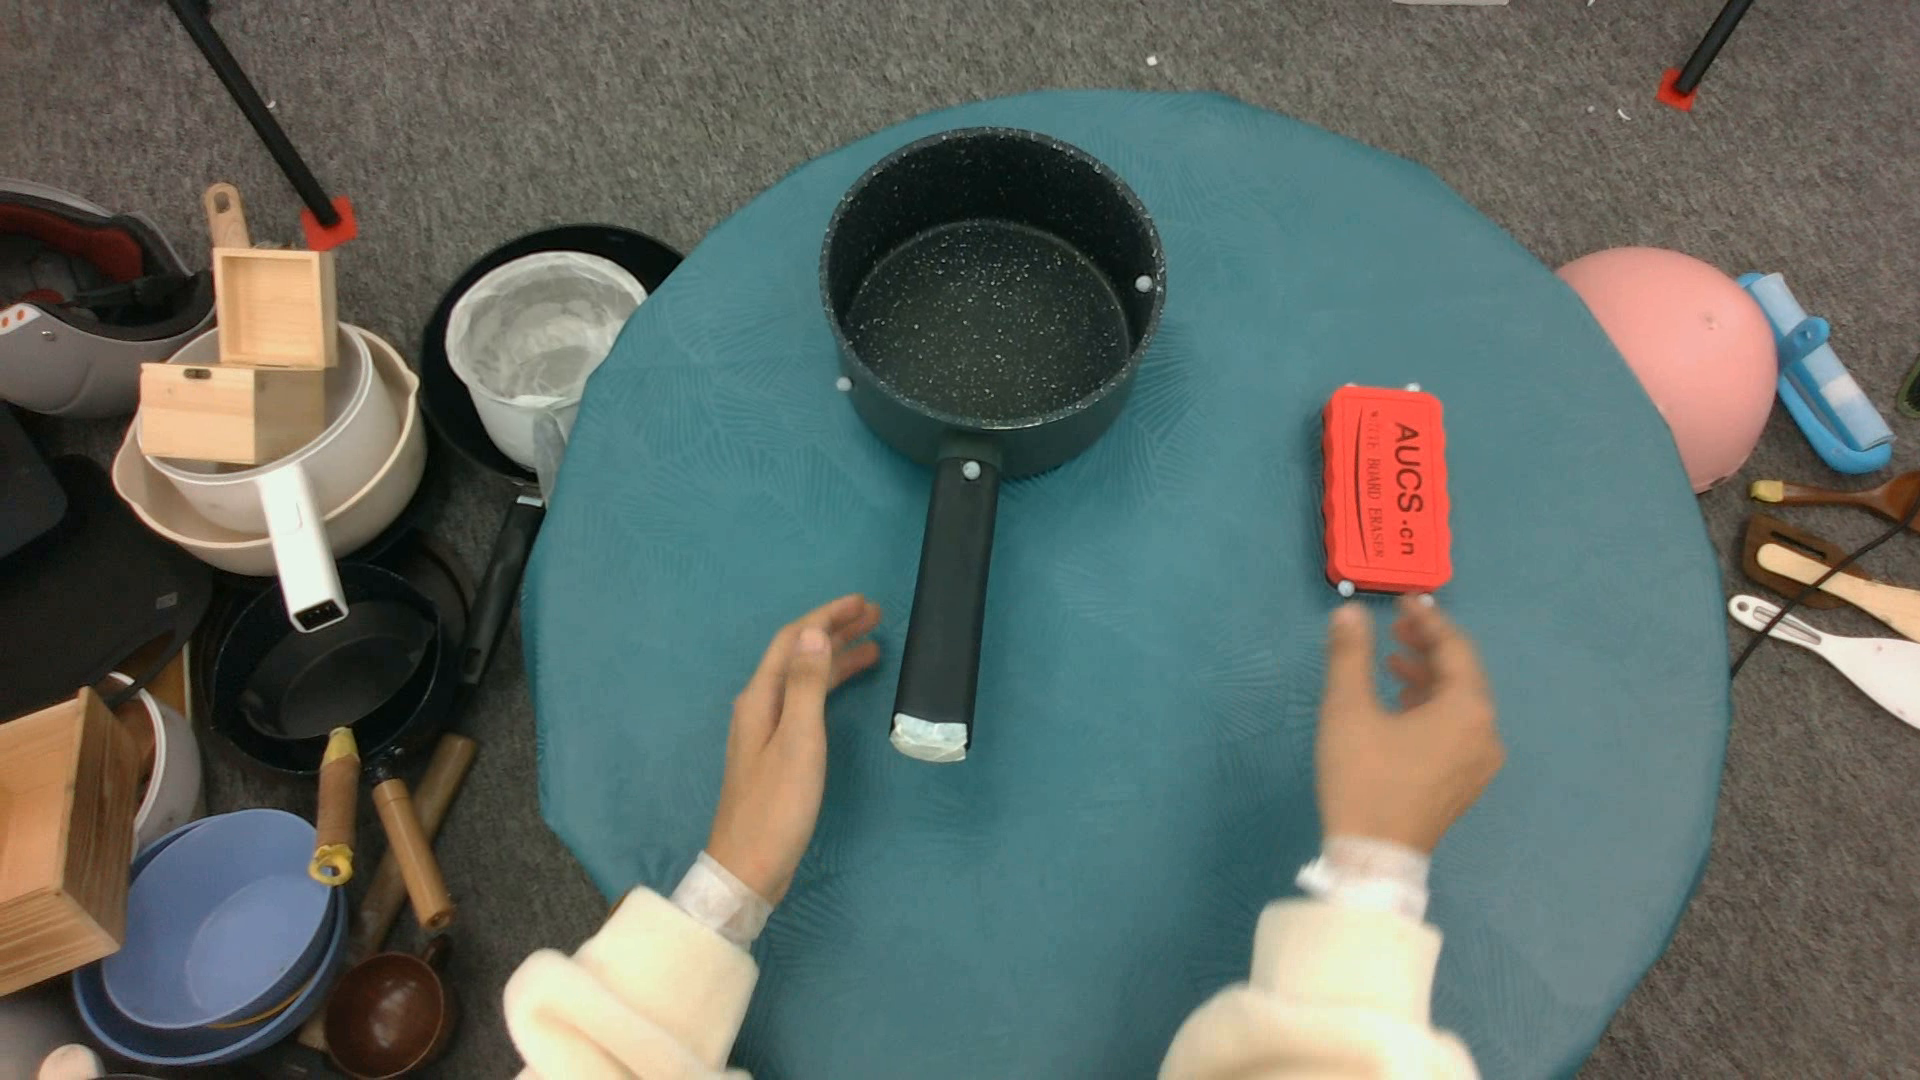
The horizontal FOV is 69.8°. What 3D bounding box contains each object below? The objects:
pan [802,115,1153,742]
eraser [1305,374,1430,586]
[{"bbox_3d":[-0.004,-0.054,0.675,0.172,0.086,0.330,9,67,2],"label":"pan"},{"bbox_3d":[0.209,-0.031,0.706,0.059,0.023,0.108,6,68,0],"label":"eraser"}]
